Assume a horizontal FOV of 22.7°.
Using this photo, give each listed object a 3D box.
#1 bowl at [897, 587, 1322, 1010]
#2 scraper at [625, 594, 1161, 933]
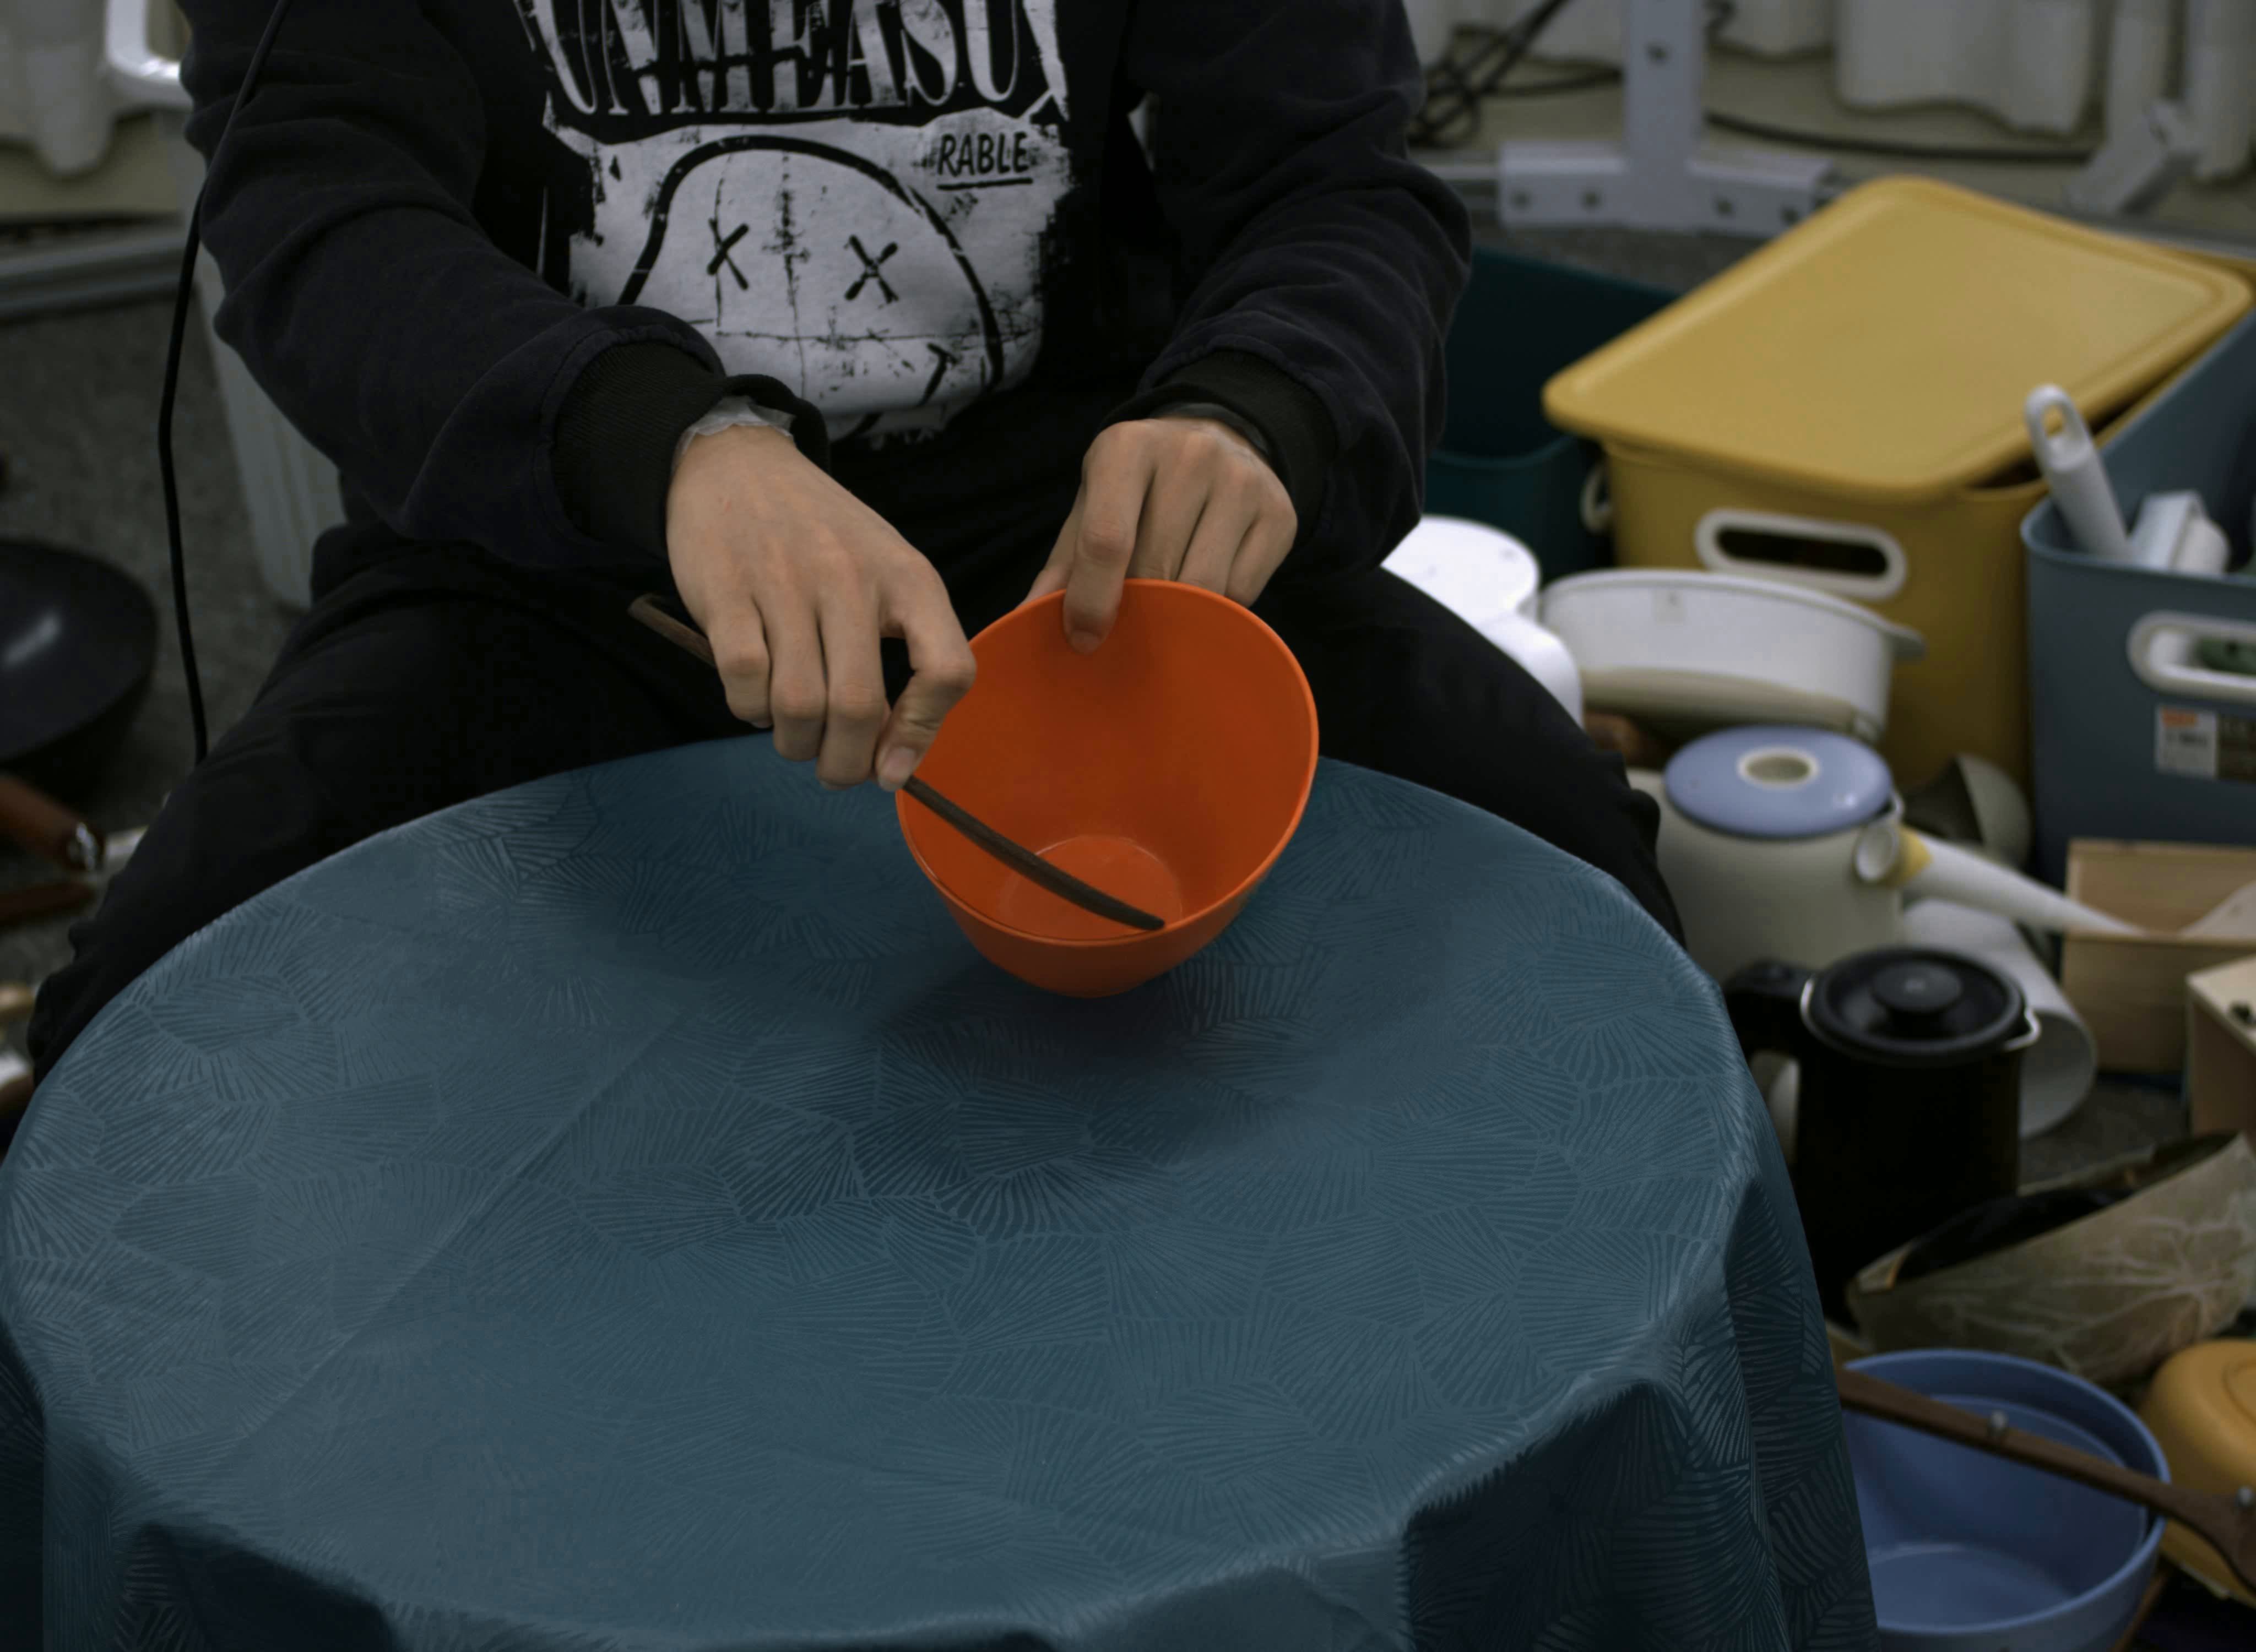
[{"bbox_3d":[-0.005,0.004,1.962,0.147,0.103,0.151,-1,52,2],"label":"bowl"},{"bbox_3d":[-0.081,-0.019,1.898,0.211,0.011,0.075,33,-6,-5],"label":"scraper"}]
